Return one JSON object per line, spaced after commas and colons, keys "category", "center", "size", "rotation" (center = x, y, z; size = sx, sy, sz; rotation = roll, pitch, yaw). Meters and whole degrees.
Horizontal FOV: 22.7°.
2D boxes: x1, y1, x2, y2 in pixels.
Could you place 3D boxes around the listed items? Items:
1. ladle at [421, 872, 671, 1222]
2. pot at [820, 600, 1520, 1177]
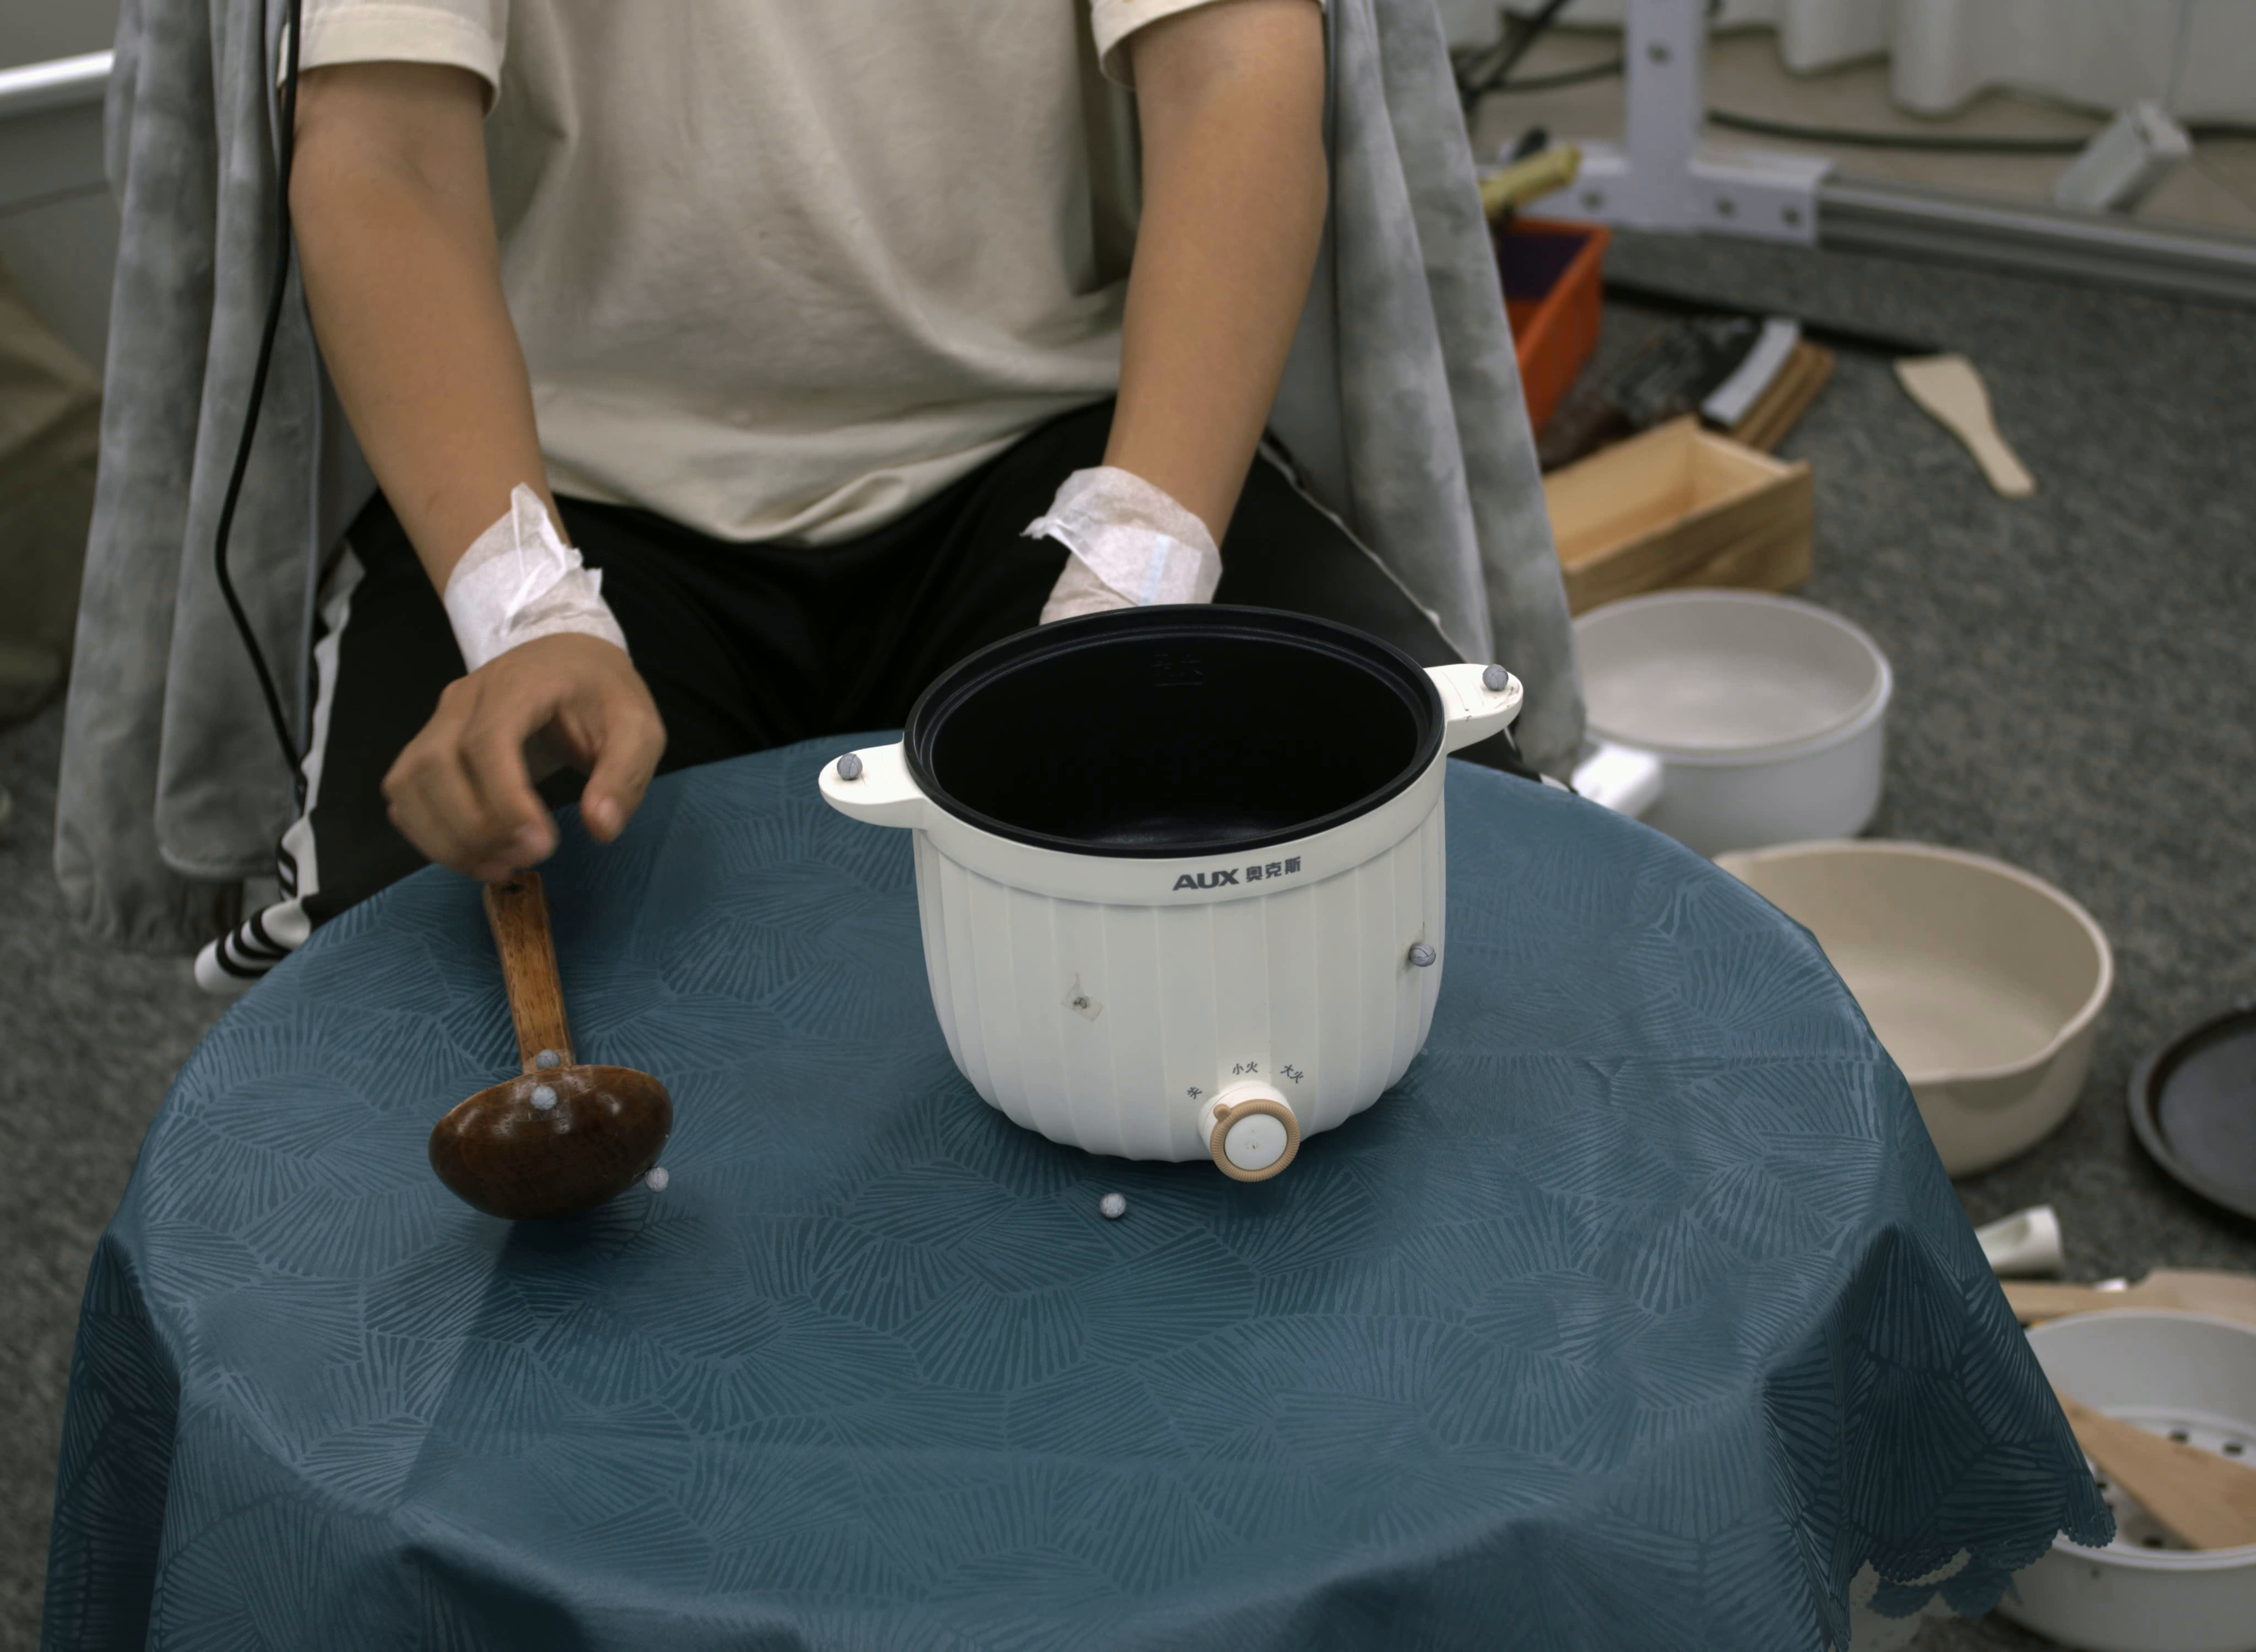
{"category": "ladle", "center": [-0.204, 0.056, 1.926], "size": [0.082, 0.076, 0.277], "rotation": [-9, 28, -5]}
{"category": "pot", "center": [0.021, 0.025, 1.895], "size": [0.240, 0.141, 0.192], "rotation": [-10, 24, -10]}
